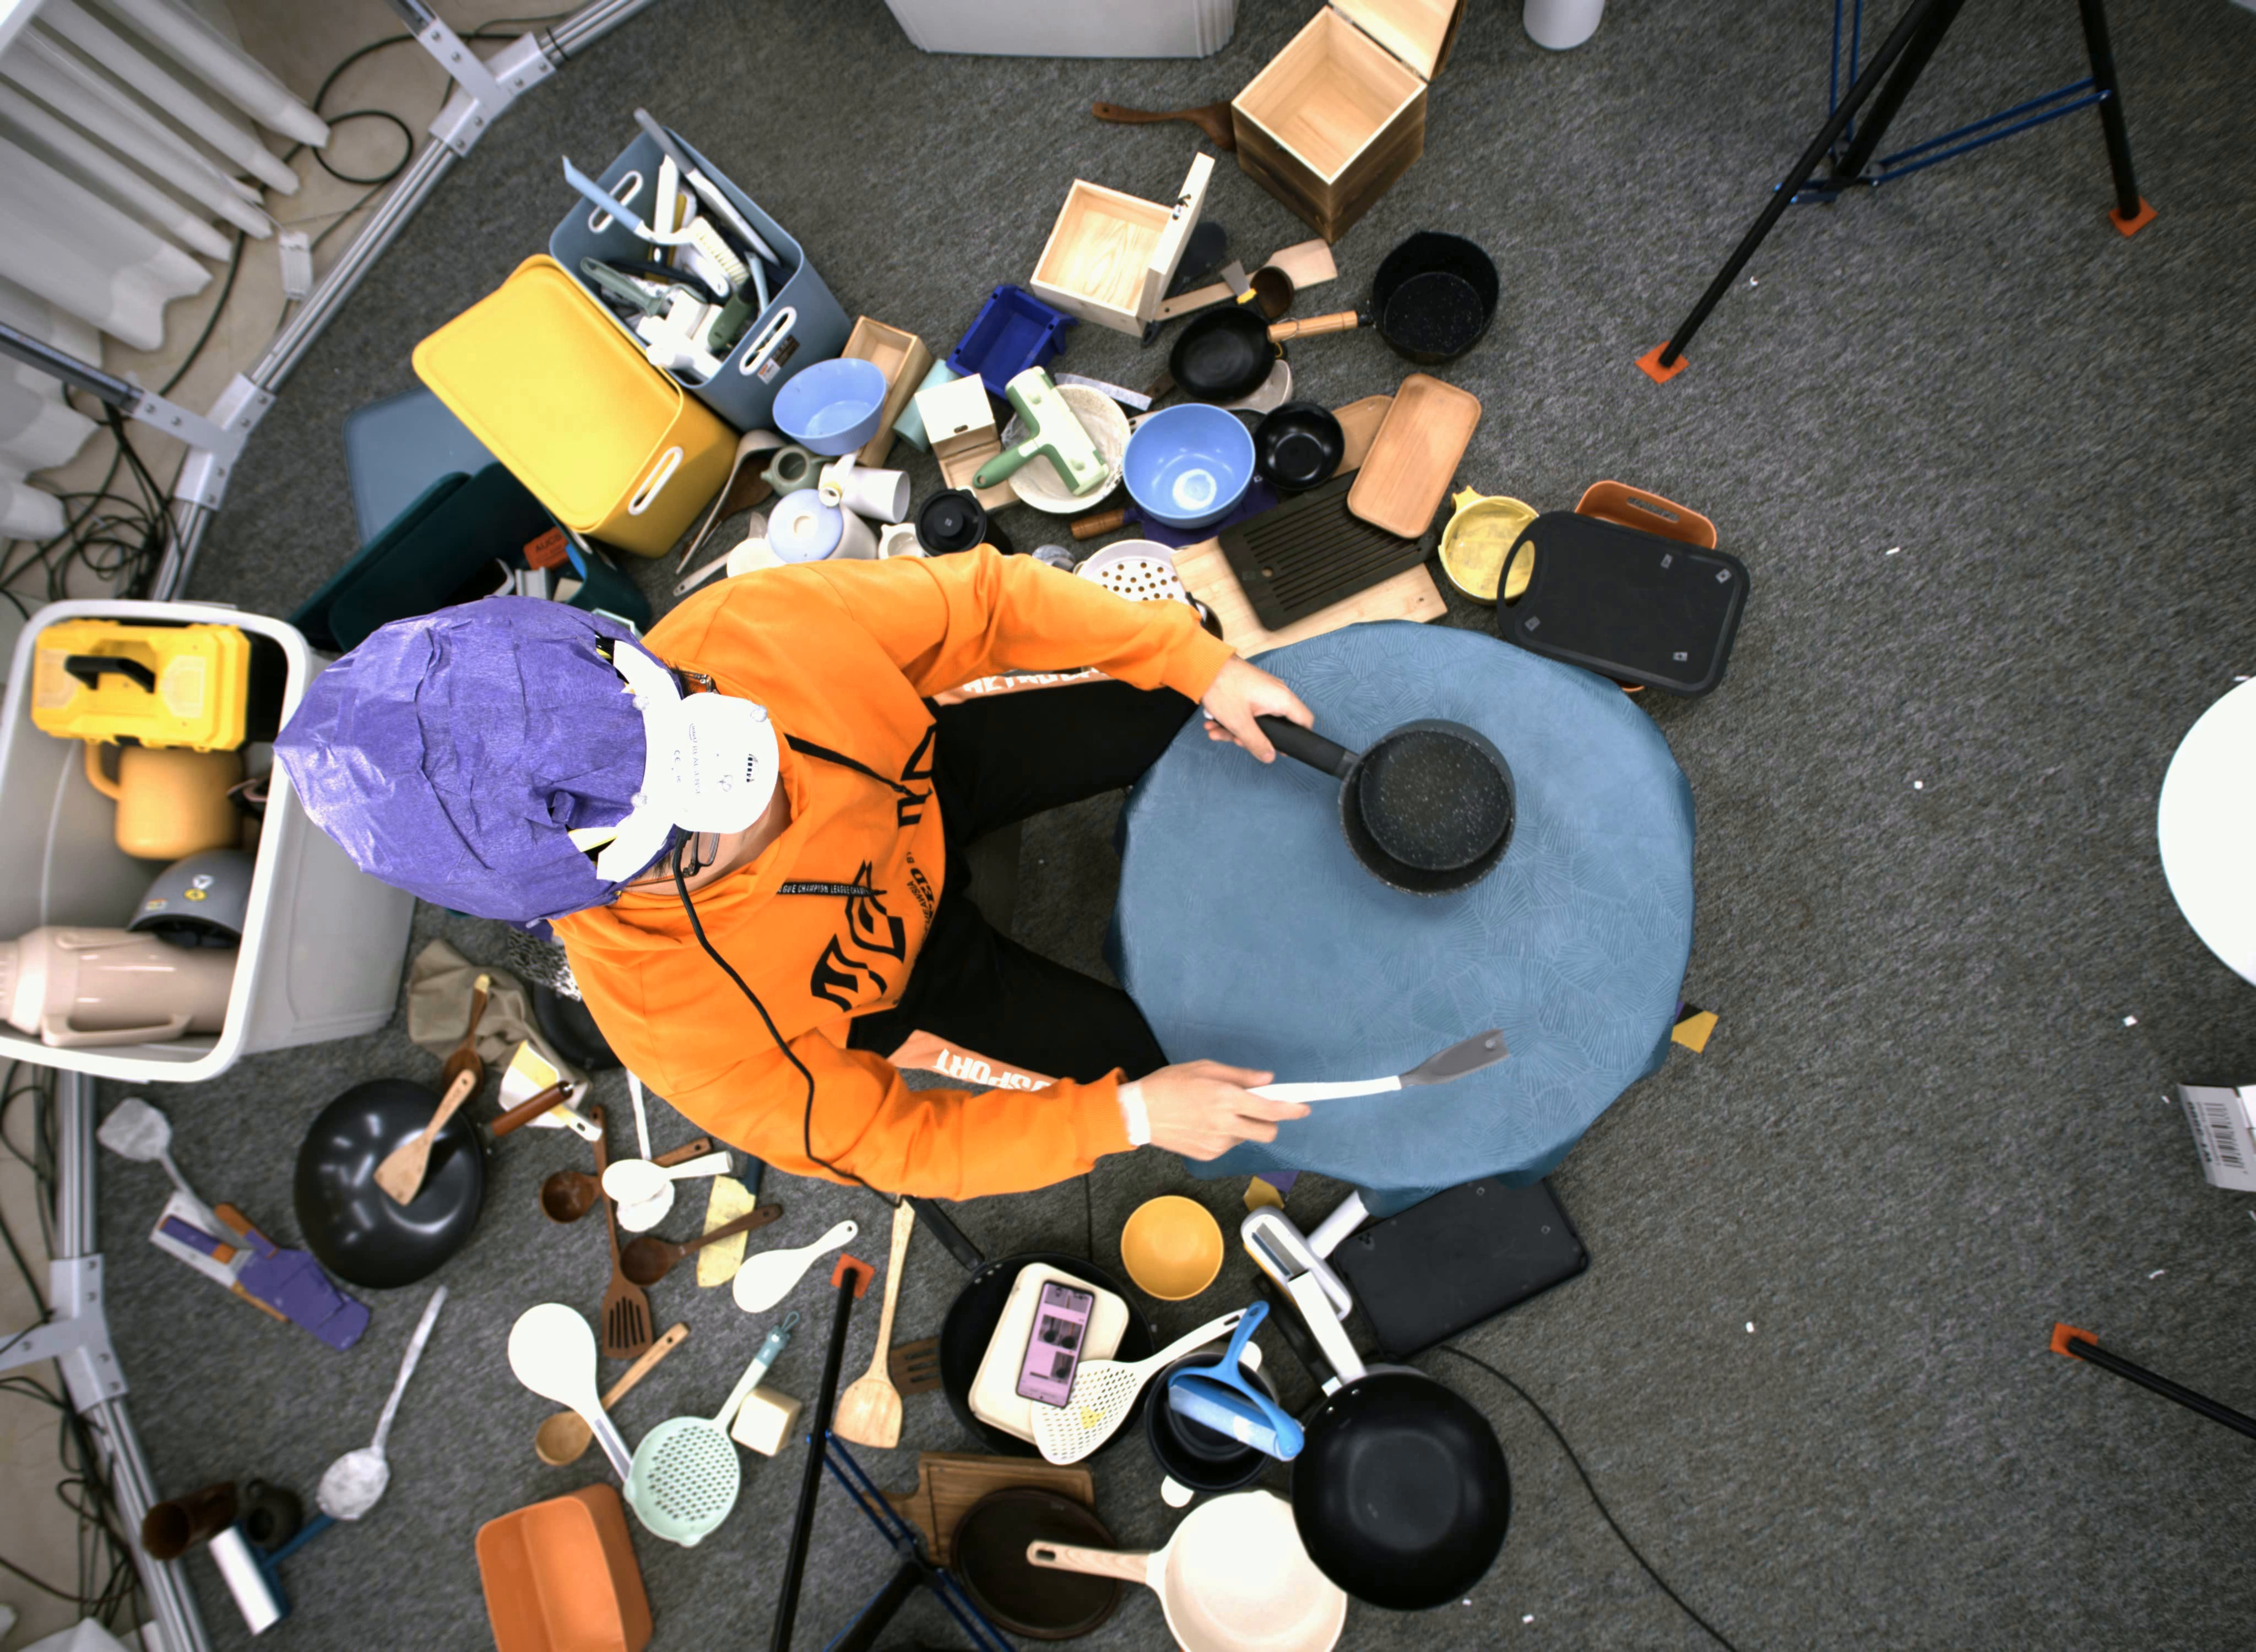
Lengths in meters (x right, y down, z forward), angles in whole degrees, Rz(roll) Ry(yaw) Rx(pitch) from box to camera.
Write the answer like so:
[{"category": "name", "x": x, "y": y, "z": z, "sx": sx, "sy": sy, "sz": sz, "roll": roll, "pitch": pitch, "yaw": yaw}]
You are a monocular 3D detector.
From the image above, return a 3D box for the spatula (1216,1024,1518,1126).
[{"category": "spatula", "x": 0.226, "y": 0.239, "z": 1.315, "sx": 0.289, "sy": 0.057, "sz": 0.033, "roll": -14, "pitch": 114, "yaw": 13}]

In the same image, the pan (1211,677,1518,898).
[{"category": "pan", "x": 0.236, "y": -0.060, "z": 1.387, "sx": 0.328, "sy": 0.085, "sz": 0.175, "roll": 30, "pitch": 113, "yaw": 7}]
